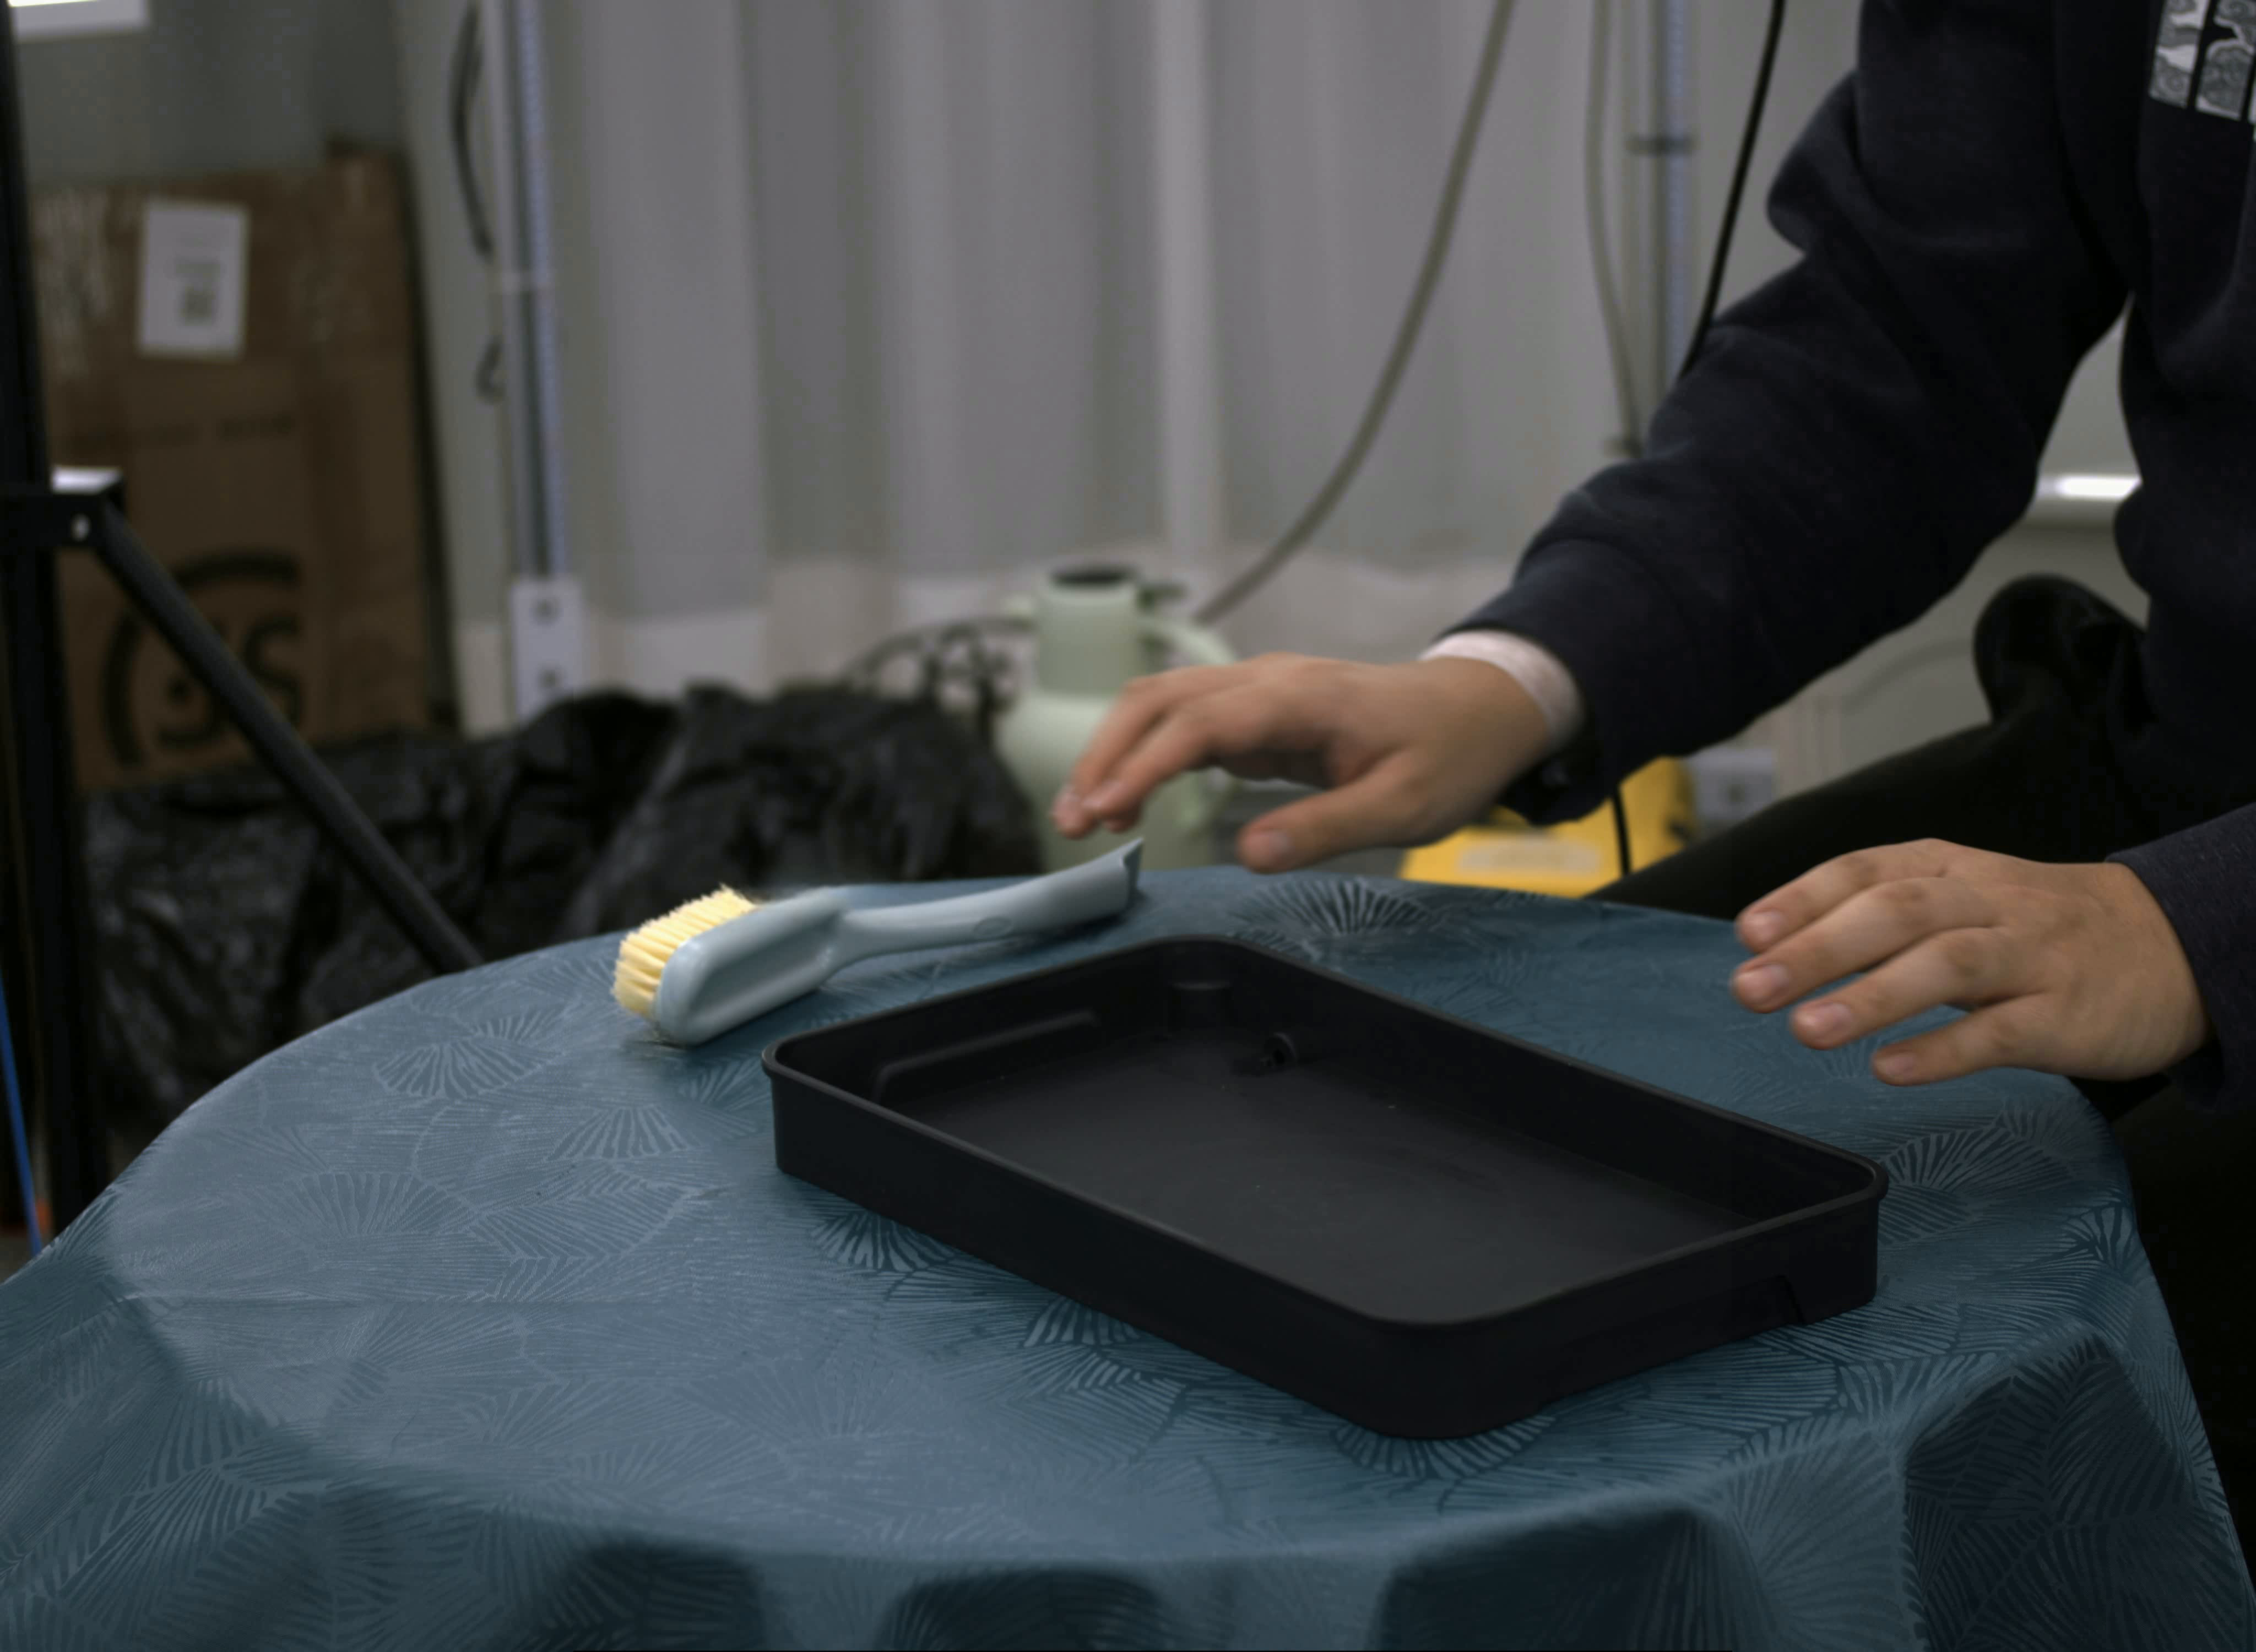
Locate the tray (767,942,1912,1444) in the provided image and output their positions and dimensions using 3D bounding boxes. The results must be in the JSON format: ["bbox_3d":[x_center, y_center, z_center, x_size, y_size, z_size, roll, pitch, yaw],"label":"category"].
[{"bbox_3d":[0.054,0.099,1.517,0.180,0.037,0.325,-13,19,-36],"label":"tray"}]

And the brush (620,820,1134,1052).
[{"bbox_3d":[-0.079,0.029,1.776,0.223,0.038,0.051,-18,28,-42],"label":"brush"}]
